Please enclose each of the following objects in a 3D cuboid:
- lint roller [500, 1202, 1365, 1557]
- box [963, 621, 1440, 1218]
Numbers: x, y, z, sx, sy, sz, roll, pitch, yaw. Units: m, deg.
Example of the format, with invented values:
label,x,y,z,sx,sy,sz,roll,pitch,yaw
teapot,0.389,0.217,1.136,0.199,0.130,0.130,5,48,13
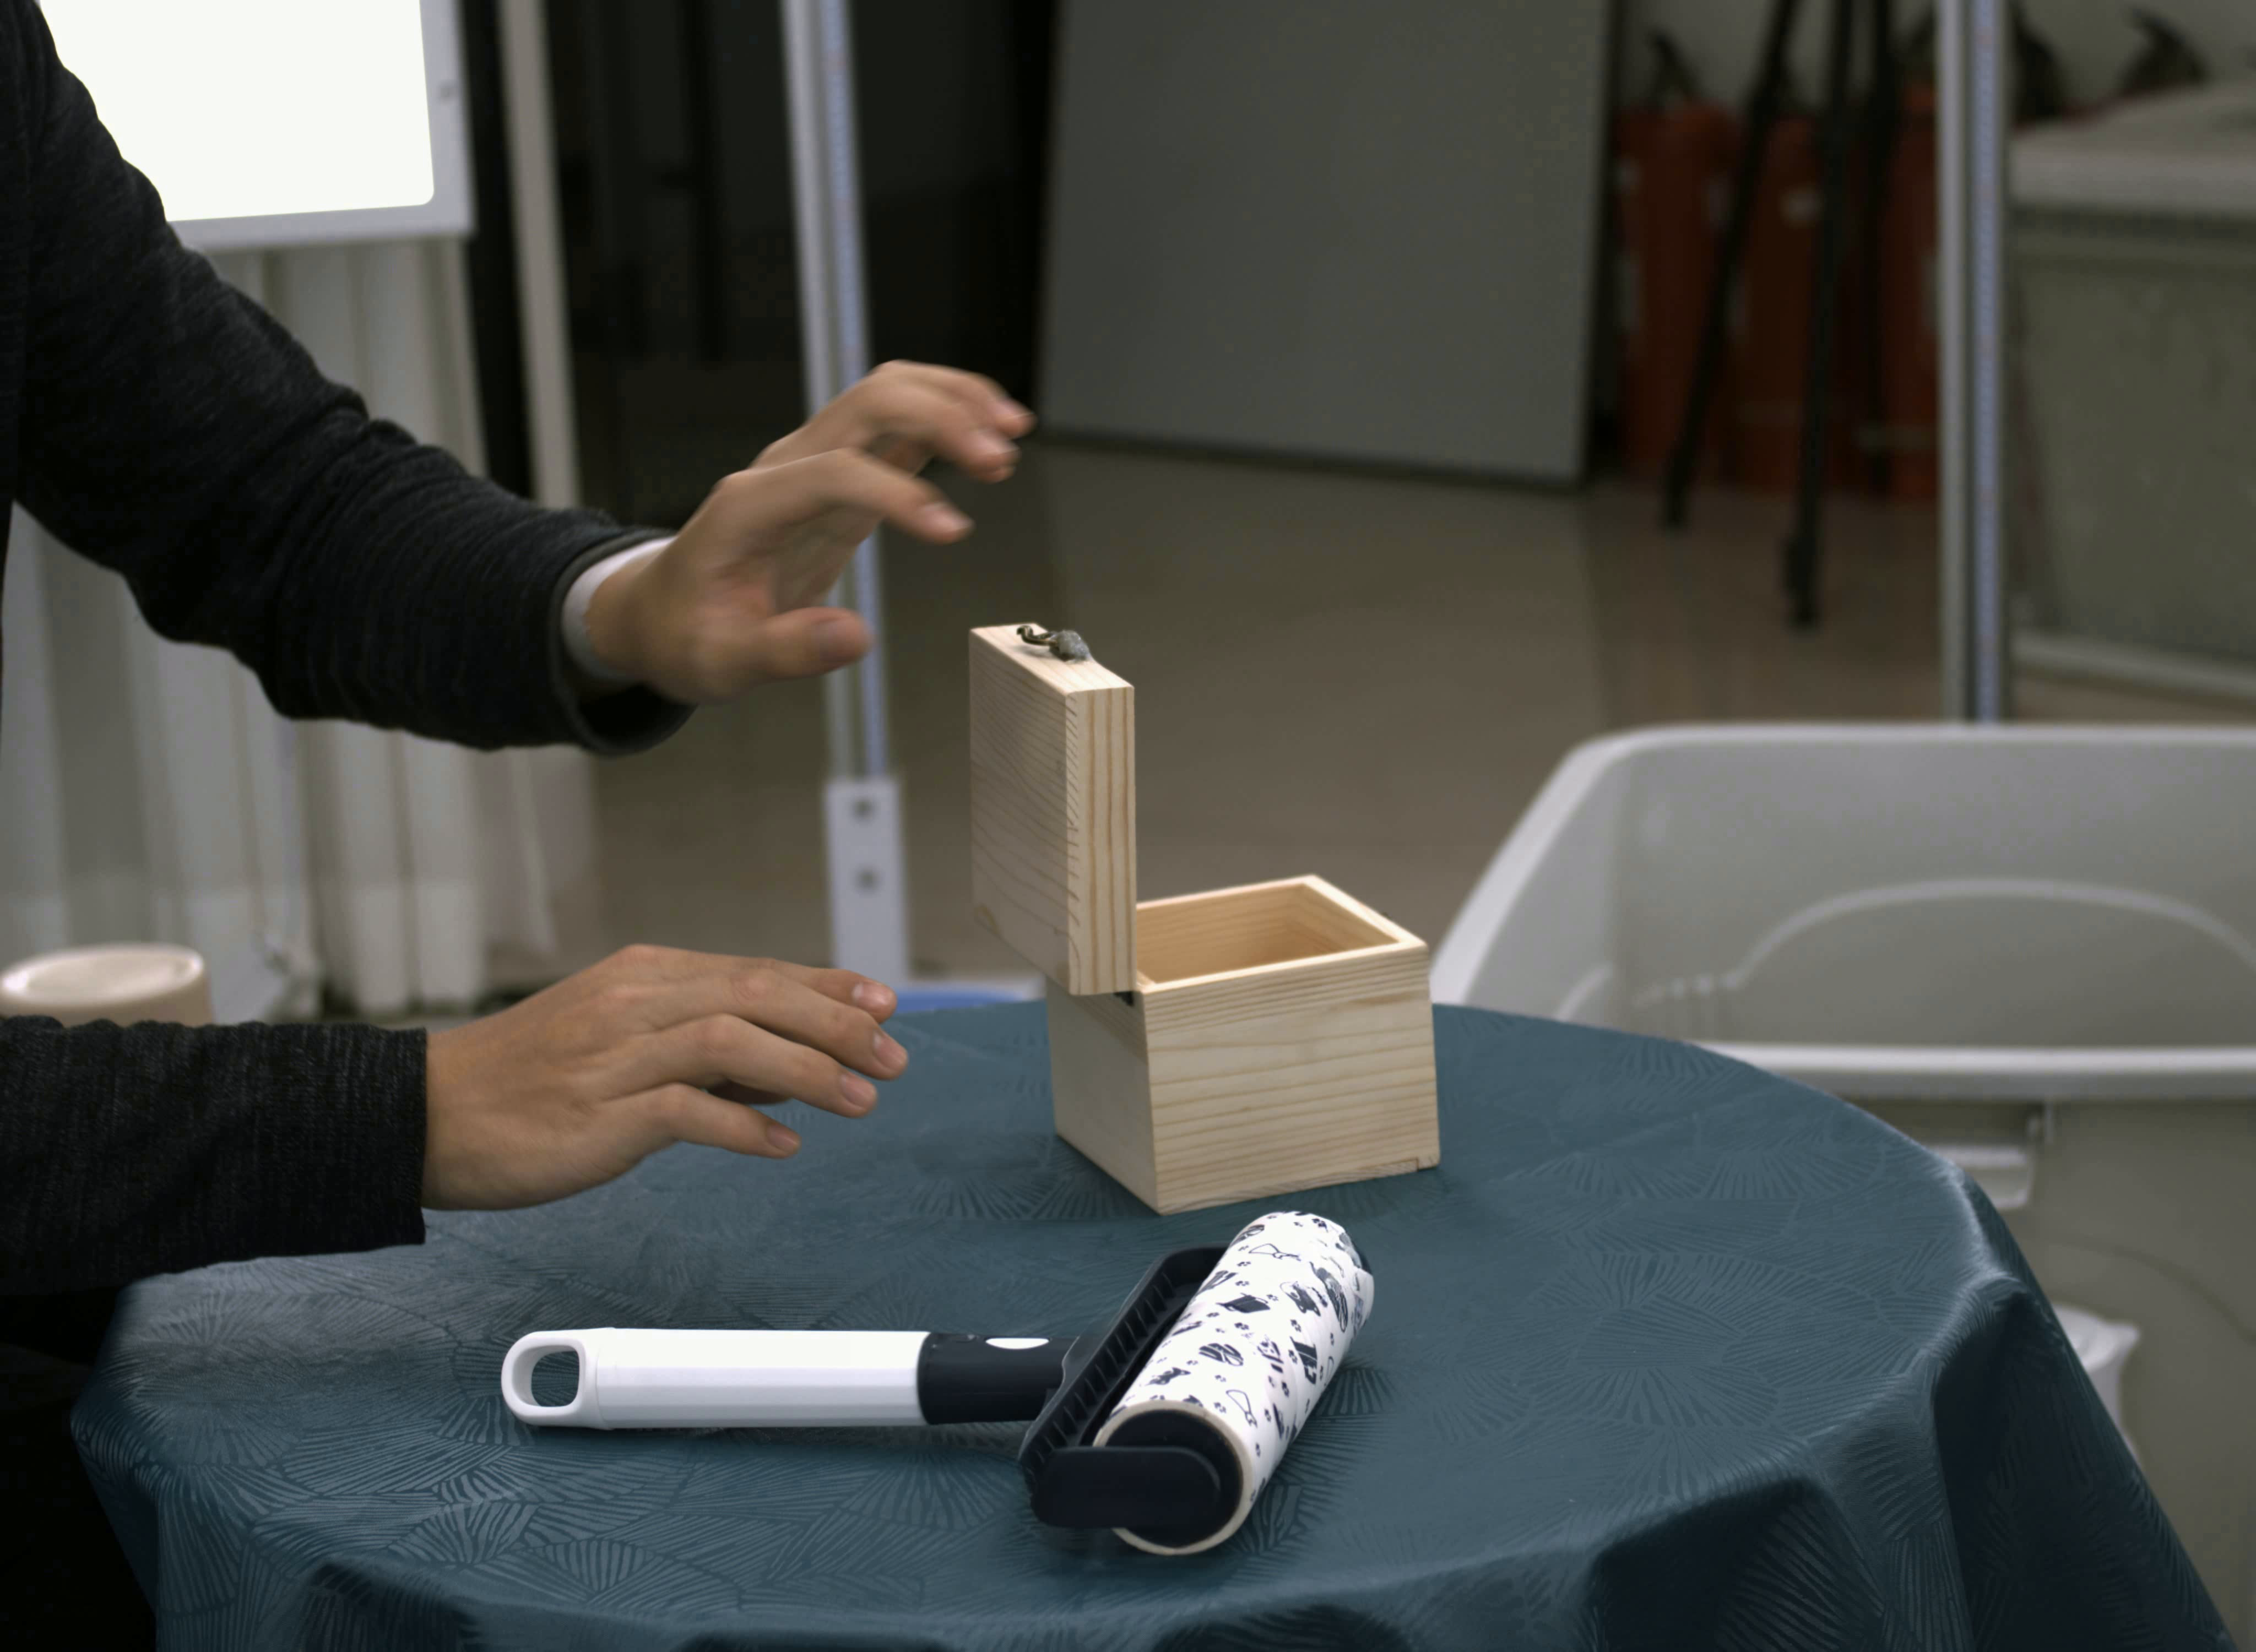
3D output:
label,x,y,z,sx,sy,sz,roll,pitch,yaw
lint roller,-0.066,0.157,1.552,0.246,0.051,0.175,-1,15,16
box,0.025,0.022,1.779,0.131,0.186,0.103,-9,13,-18
